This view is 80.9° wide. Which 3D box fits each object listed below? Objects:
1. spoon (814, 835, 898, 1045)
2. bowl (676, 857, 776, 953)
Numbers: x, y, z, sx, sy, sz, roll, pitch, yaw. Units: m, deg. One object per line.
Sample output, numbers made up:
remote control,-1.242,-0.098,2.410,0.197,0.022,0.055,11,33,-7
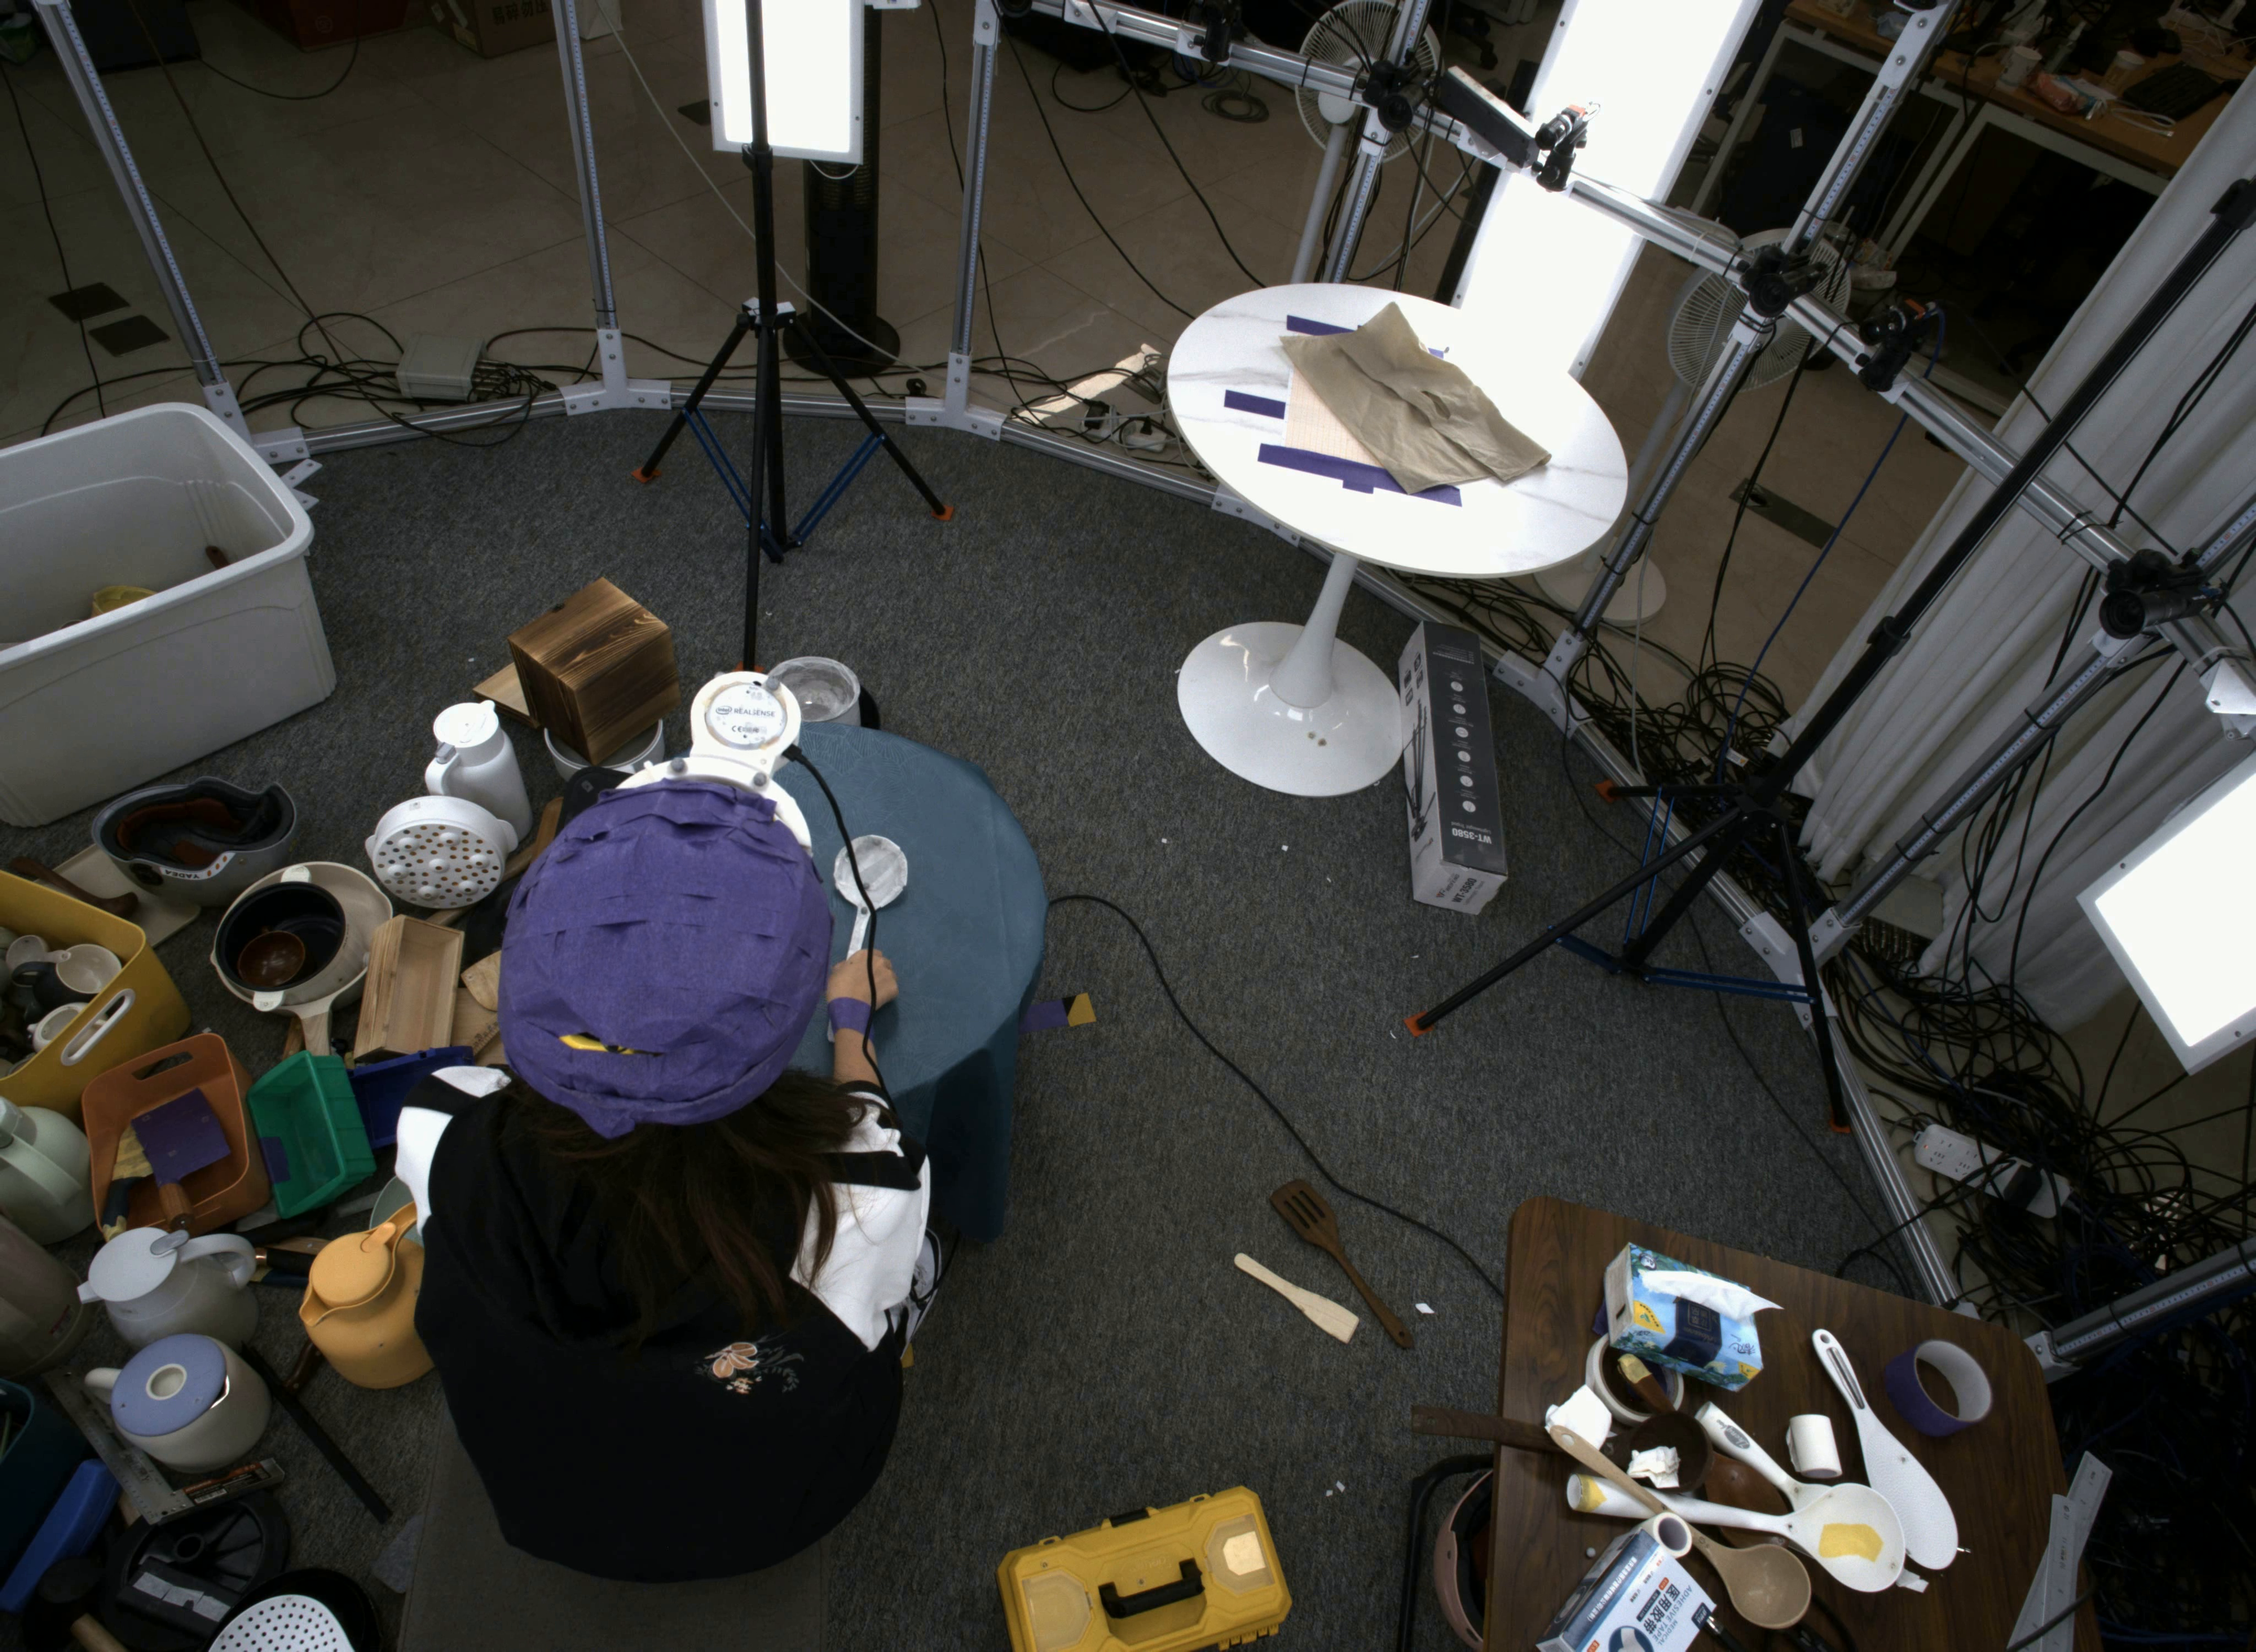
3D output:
spoon,-0.354,0.133,1.600,0.100,0.061,0.273,9,51,-2
bowl,-0.490,0.102,1.578,0.118,0.071,0.116,7,52,-8
